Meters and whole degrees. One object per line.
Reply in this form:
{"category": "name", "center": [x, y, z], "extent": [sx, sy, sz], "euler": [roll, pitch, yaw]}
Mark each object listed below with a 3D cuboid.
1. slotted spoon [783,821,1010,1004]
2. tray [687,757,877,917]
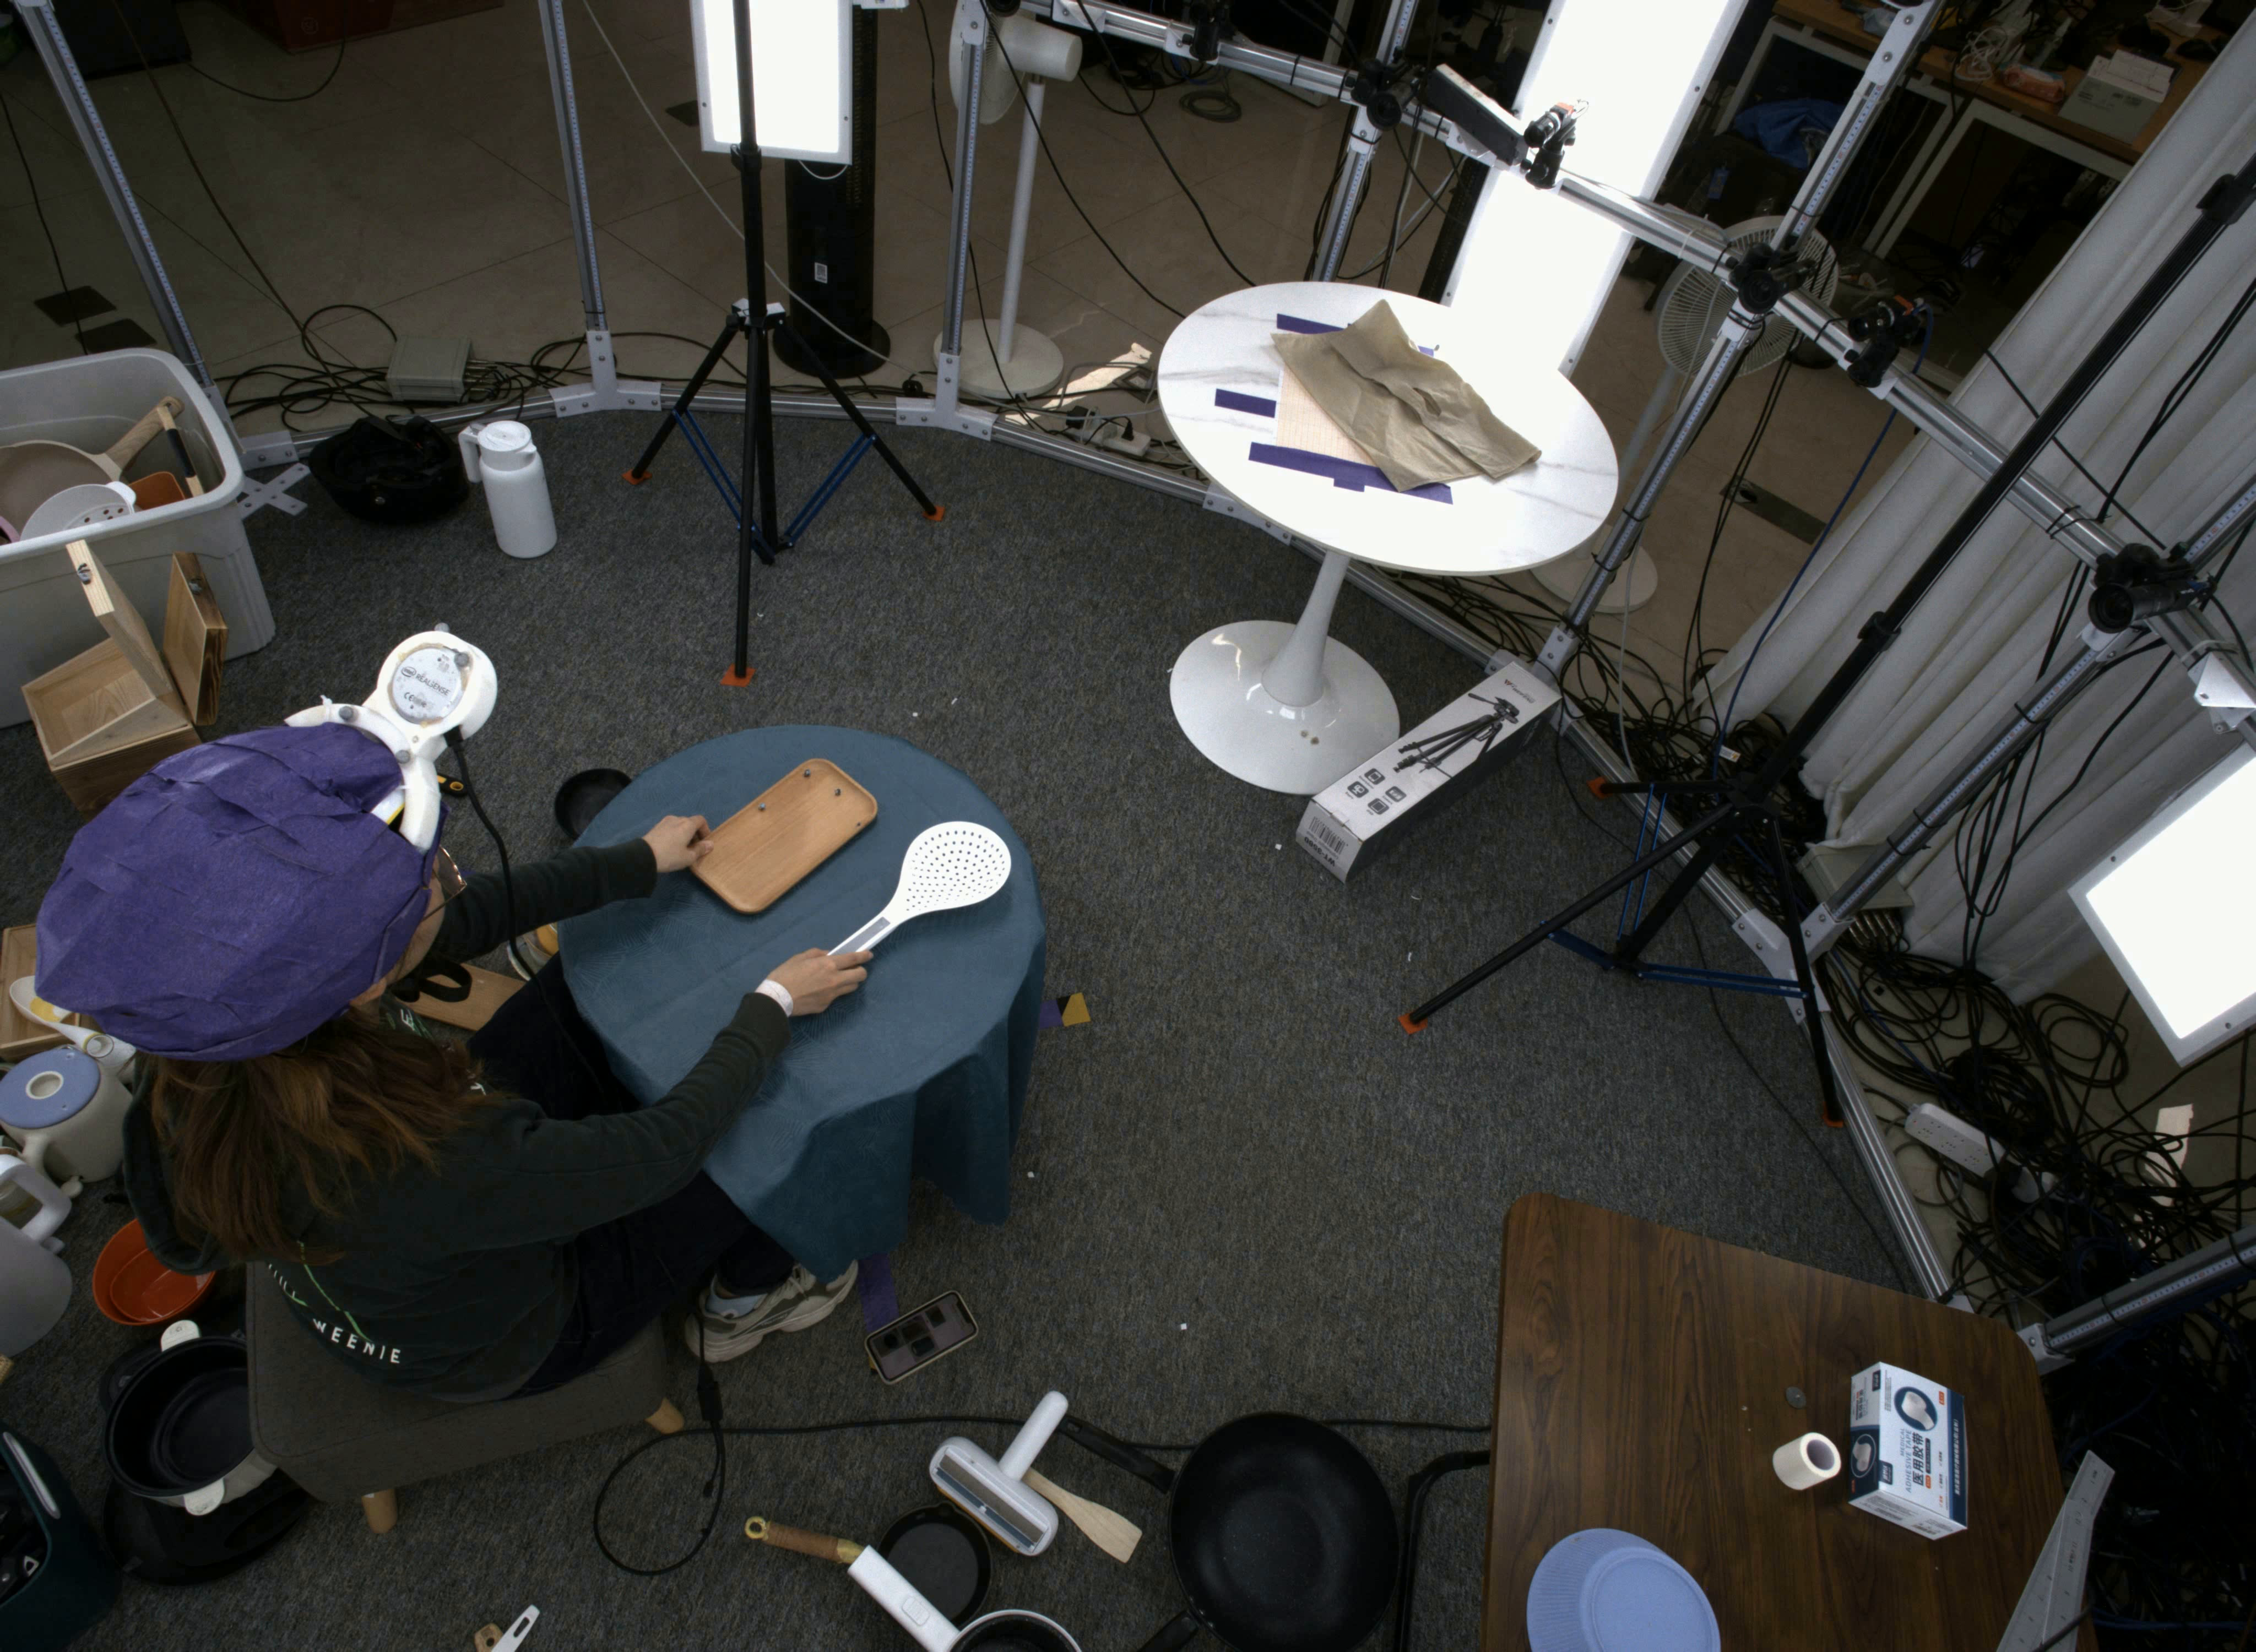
{"category": "slotted spoon", "center": [-0.293, 0.108, 1.645], "extent": [0.132, 0.047, 0.350], "euler": [36, 51, 20]}
{"category": "tray", "center": [-0.450, 0.011, 1.697], "extent": [0.128, 0.023, 0.250], "euler": [38, 55, 10]}
